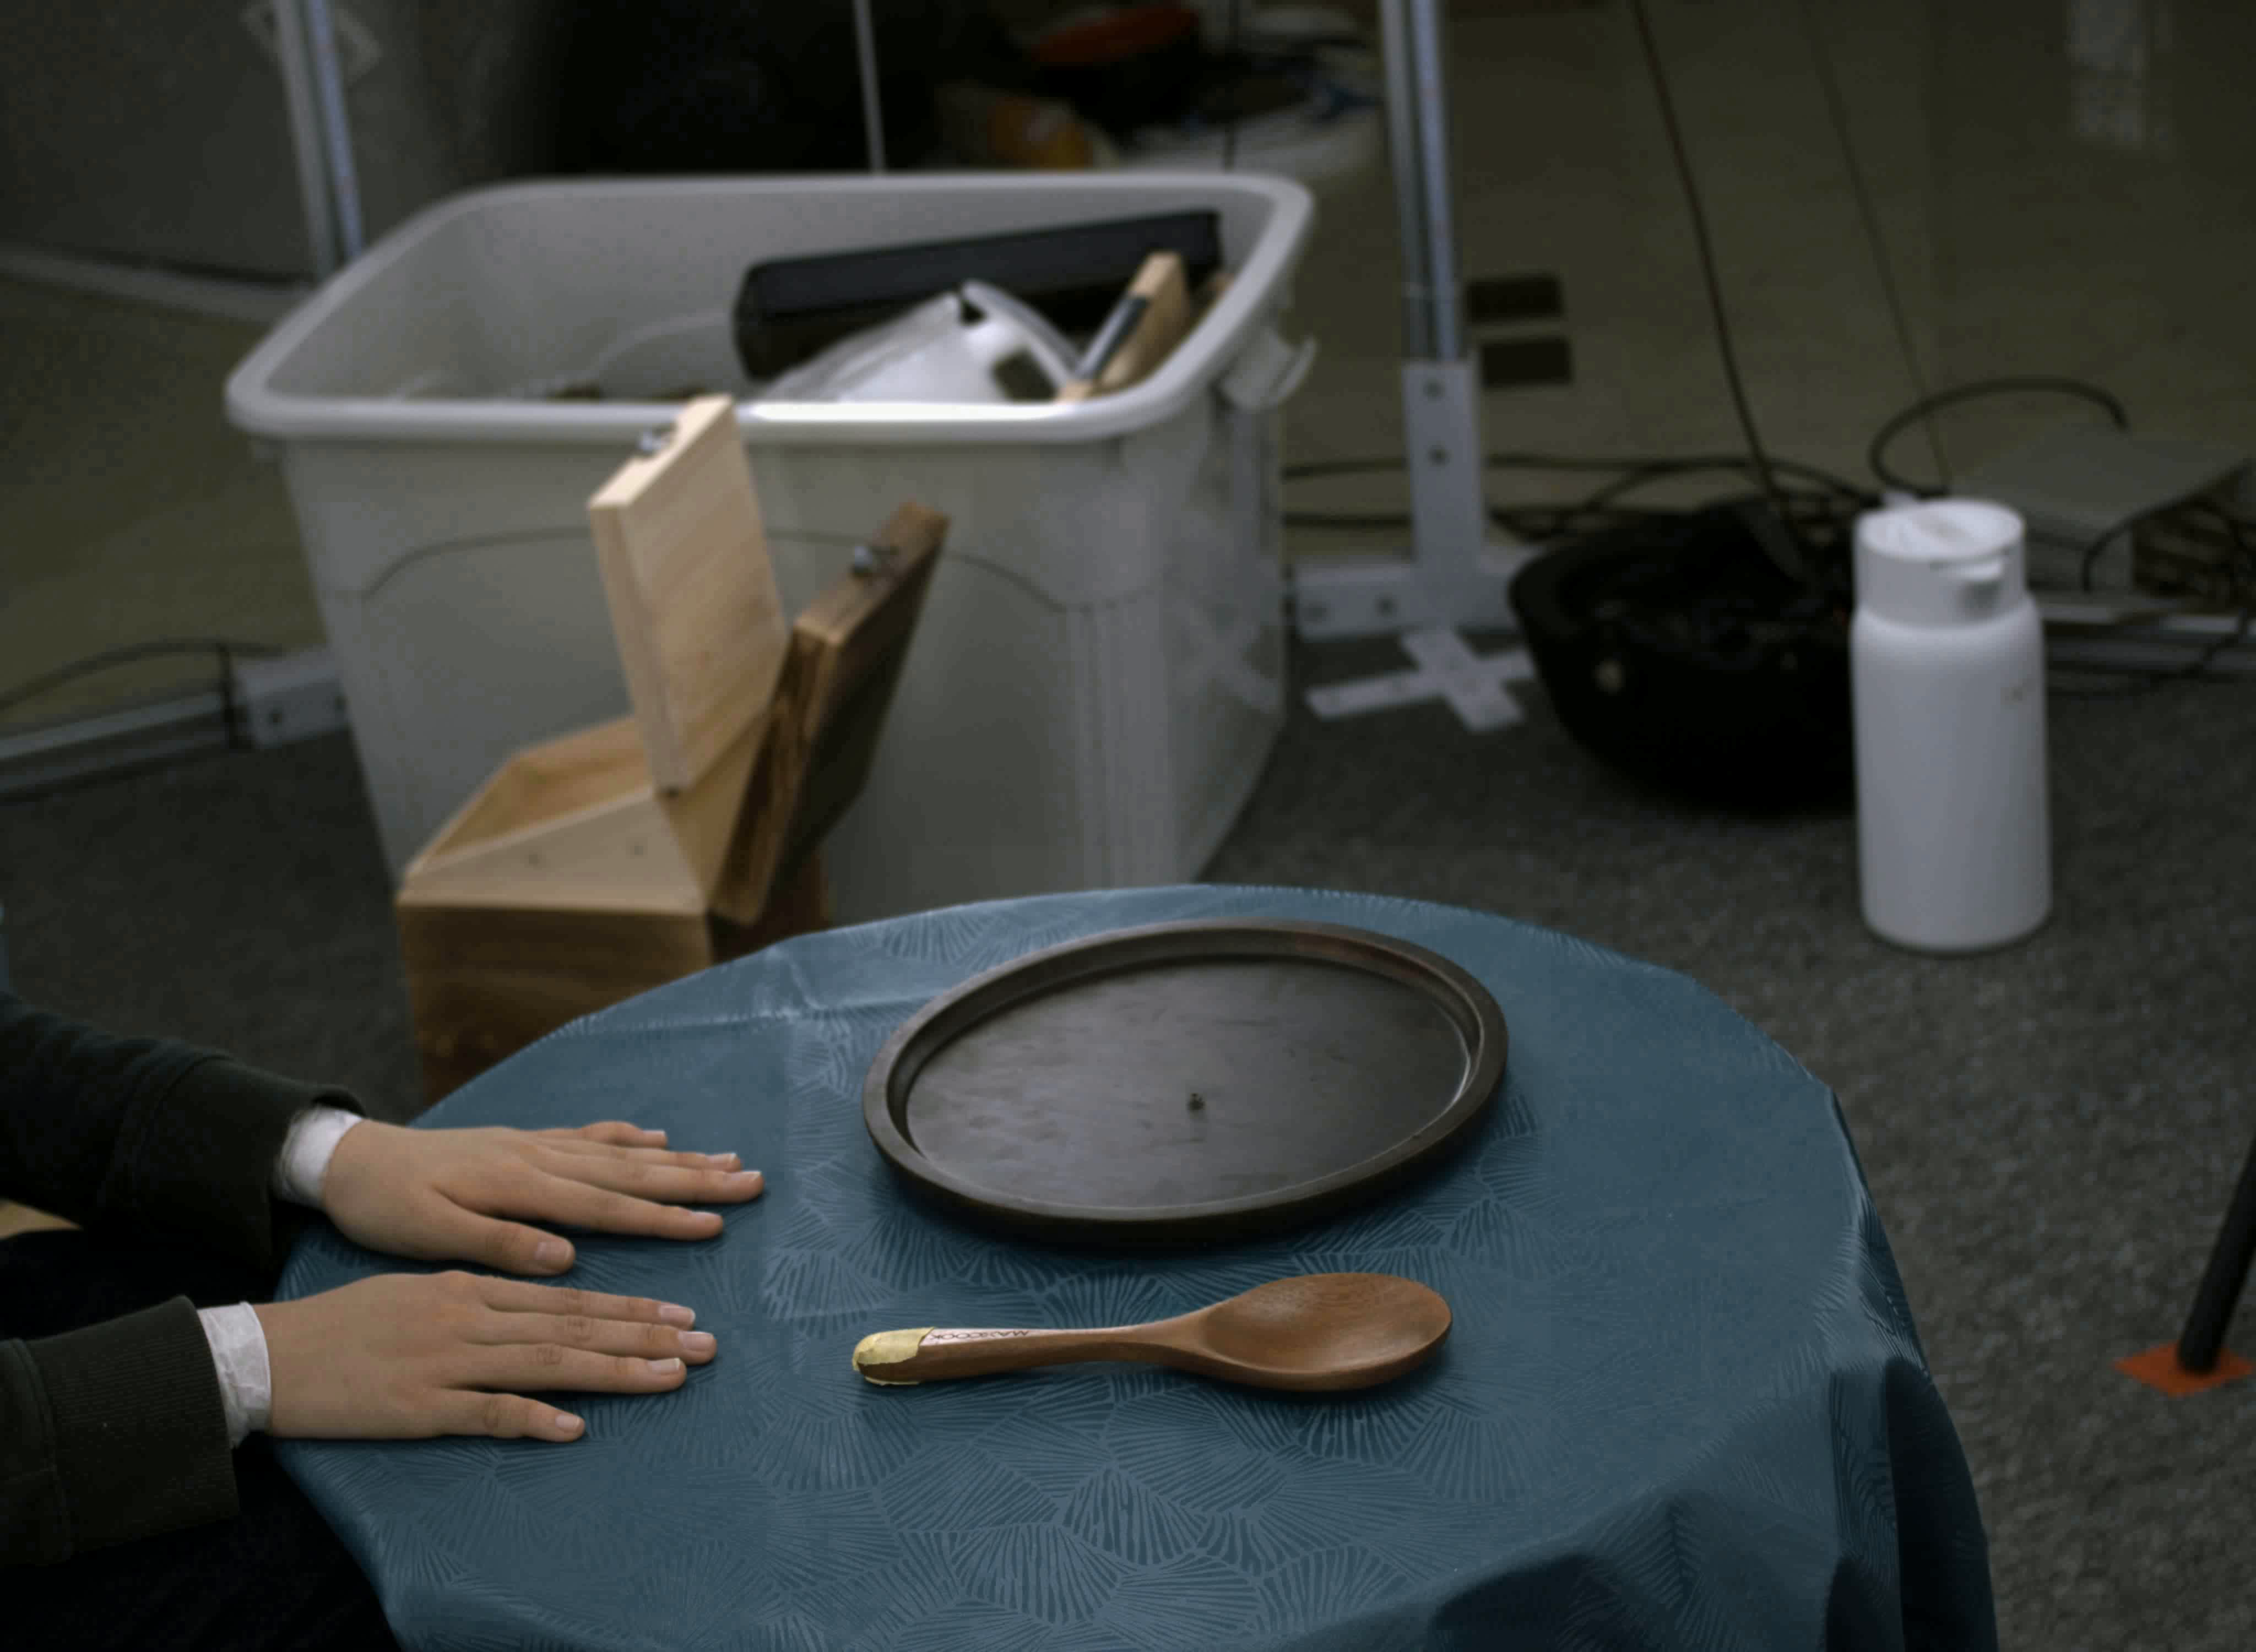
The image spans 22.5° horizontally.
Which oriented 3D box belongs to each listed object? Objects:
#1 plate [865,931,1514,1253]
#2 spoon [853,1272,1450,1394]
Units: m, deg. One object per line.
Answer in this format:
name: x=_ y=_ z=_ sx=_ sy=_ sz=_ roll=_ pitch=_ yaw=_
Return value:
plate: x=0.024 y=0.101 z=2.202 sx=0.254 sy=0.029 sz=0.251 roll=-5 pitch=24 yaw=2
spoon: x=0.008 y=0.186 z=2.030 sx=0.215 sy=0.017 sz=0.074 roll=-3 pitch=25 yaw=8
